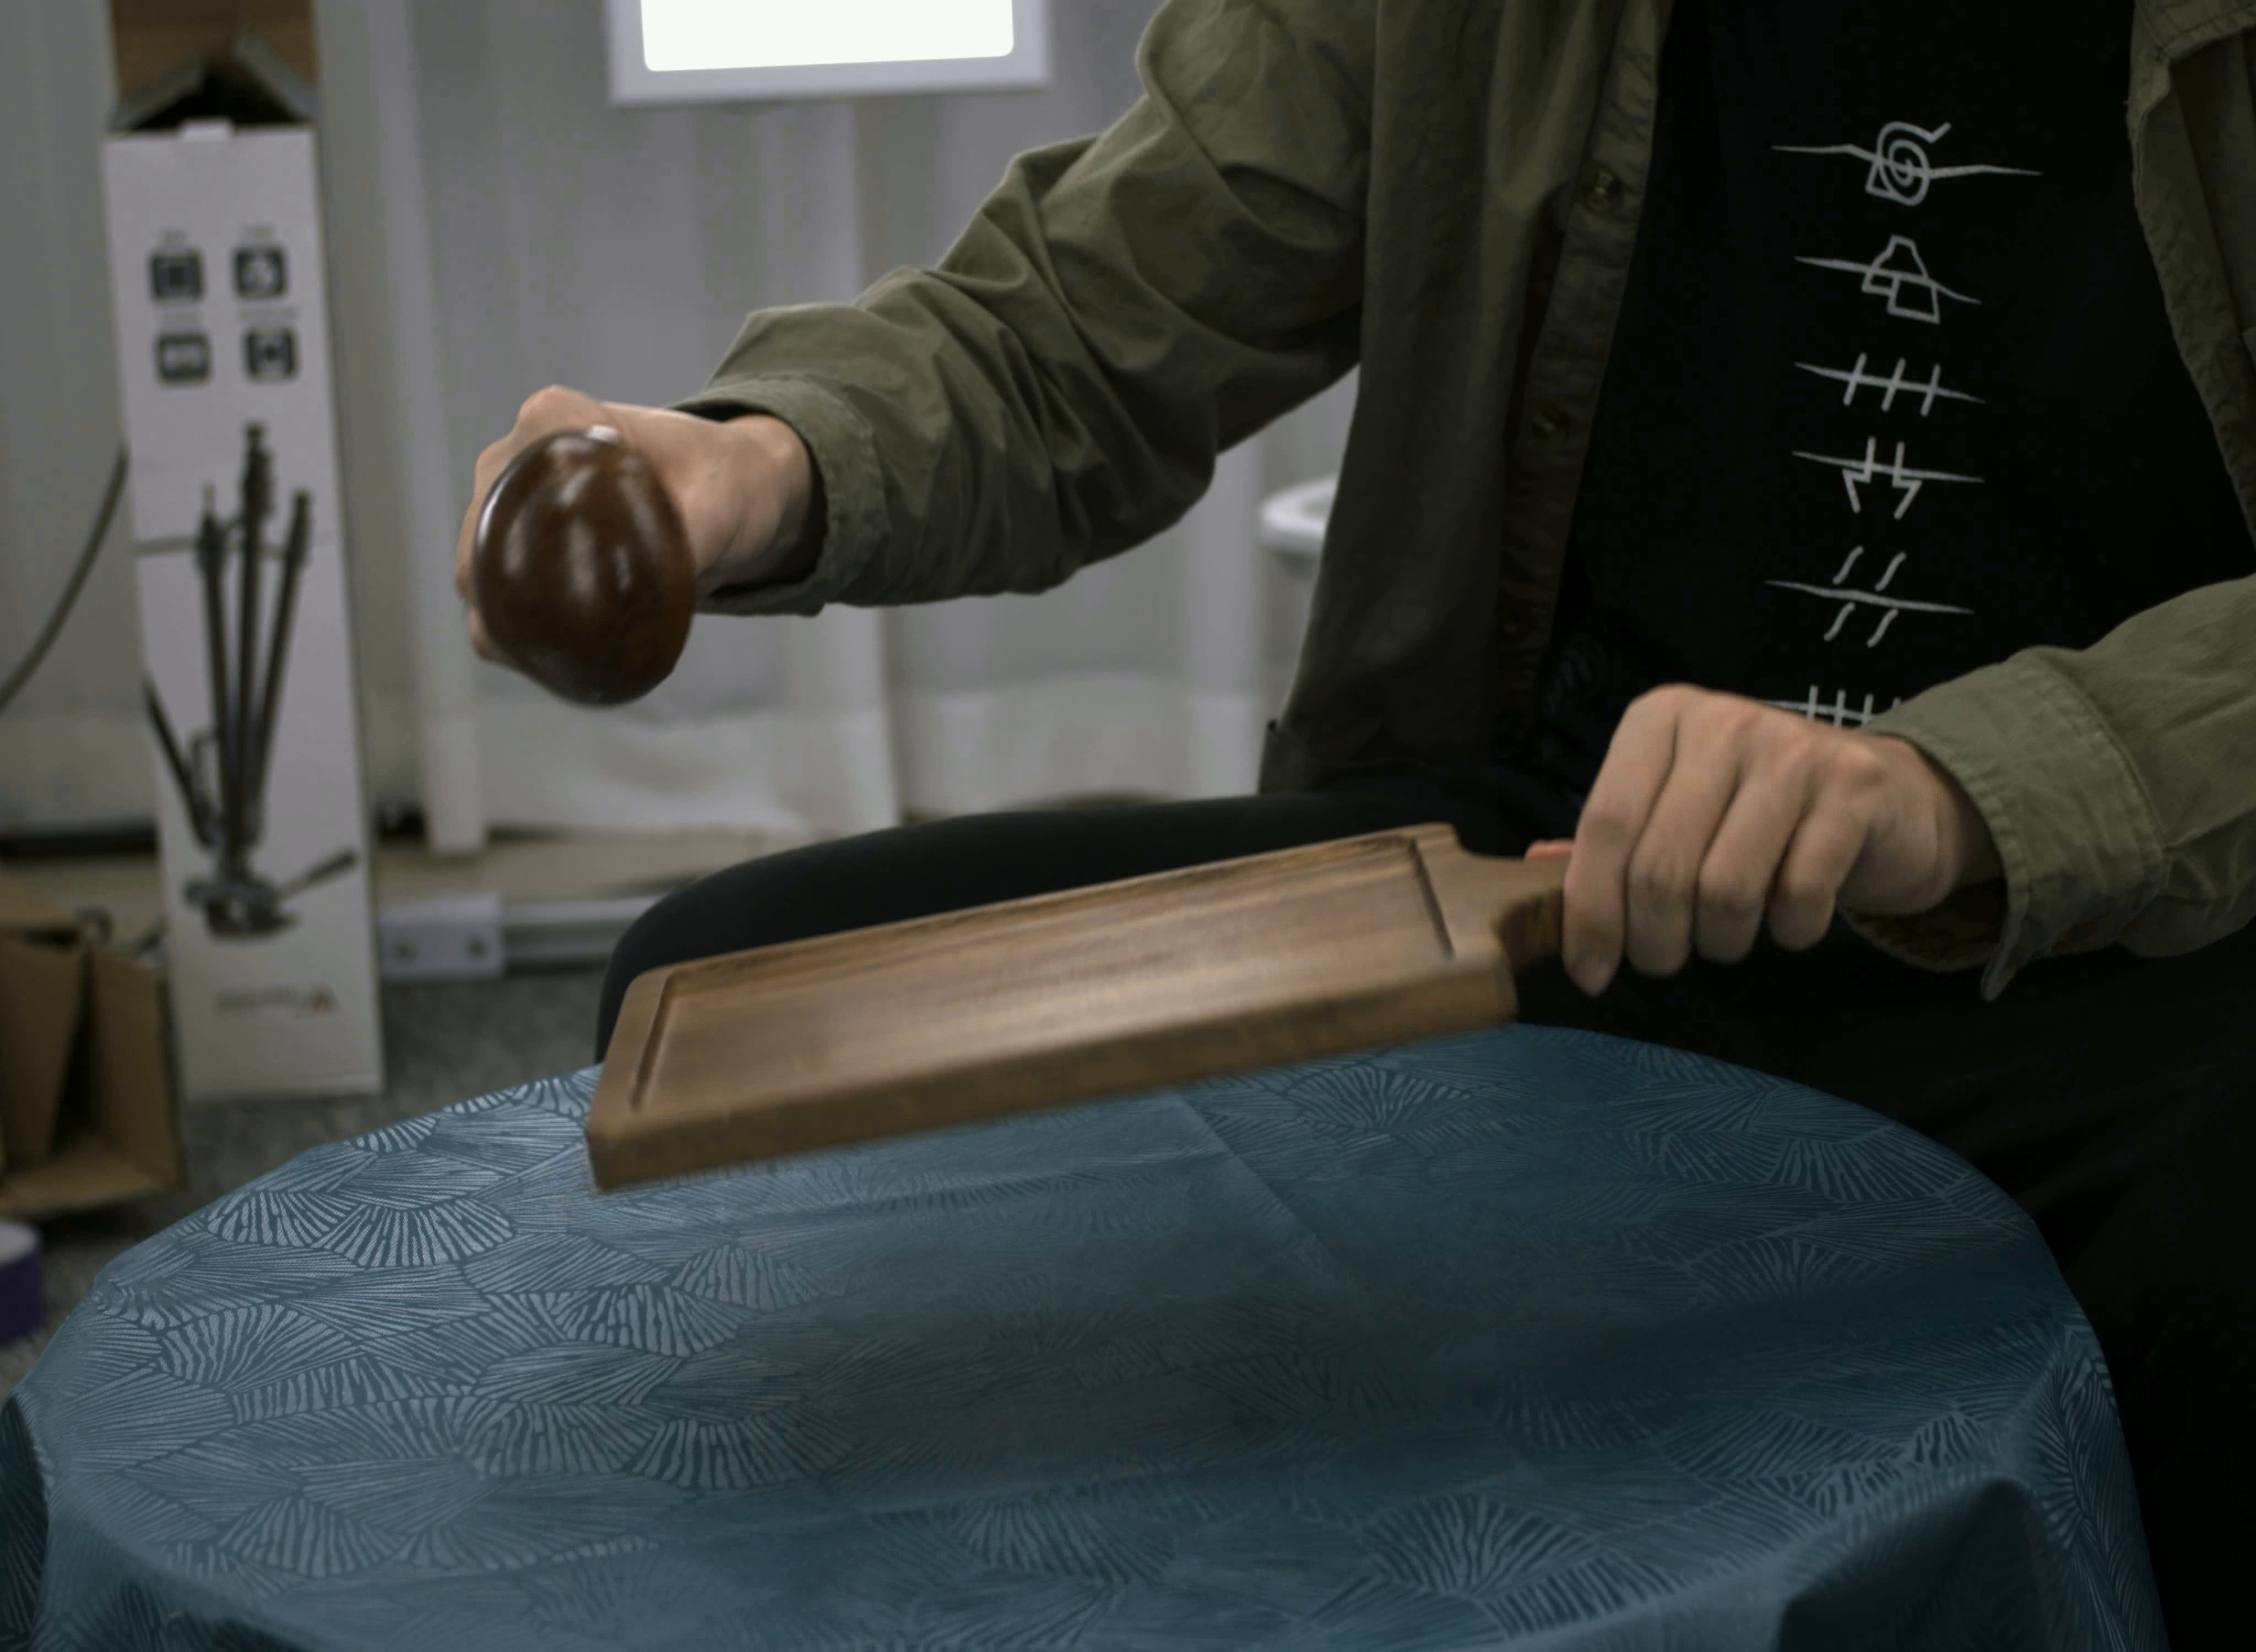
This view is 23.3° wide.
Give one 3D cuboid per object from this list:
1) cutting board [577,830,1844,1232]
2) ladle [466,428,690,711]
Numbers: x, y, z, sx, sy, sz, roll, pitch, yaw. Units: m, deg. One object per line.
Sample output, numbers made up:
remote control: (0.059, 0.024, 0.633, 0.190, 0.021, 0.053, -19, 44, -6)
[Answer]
cutting board: (0.025, 0.045, 1.516, 0.351, 0.023, 0.202, -11, 12, 2)
ladle: (-0.148, -0.070, 1.683, 0.076, 0.082, 0.273, -11, -3, 6)
